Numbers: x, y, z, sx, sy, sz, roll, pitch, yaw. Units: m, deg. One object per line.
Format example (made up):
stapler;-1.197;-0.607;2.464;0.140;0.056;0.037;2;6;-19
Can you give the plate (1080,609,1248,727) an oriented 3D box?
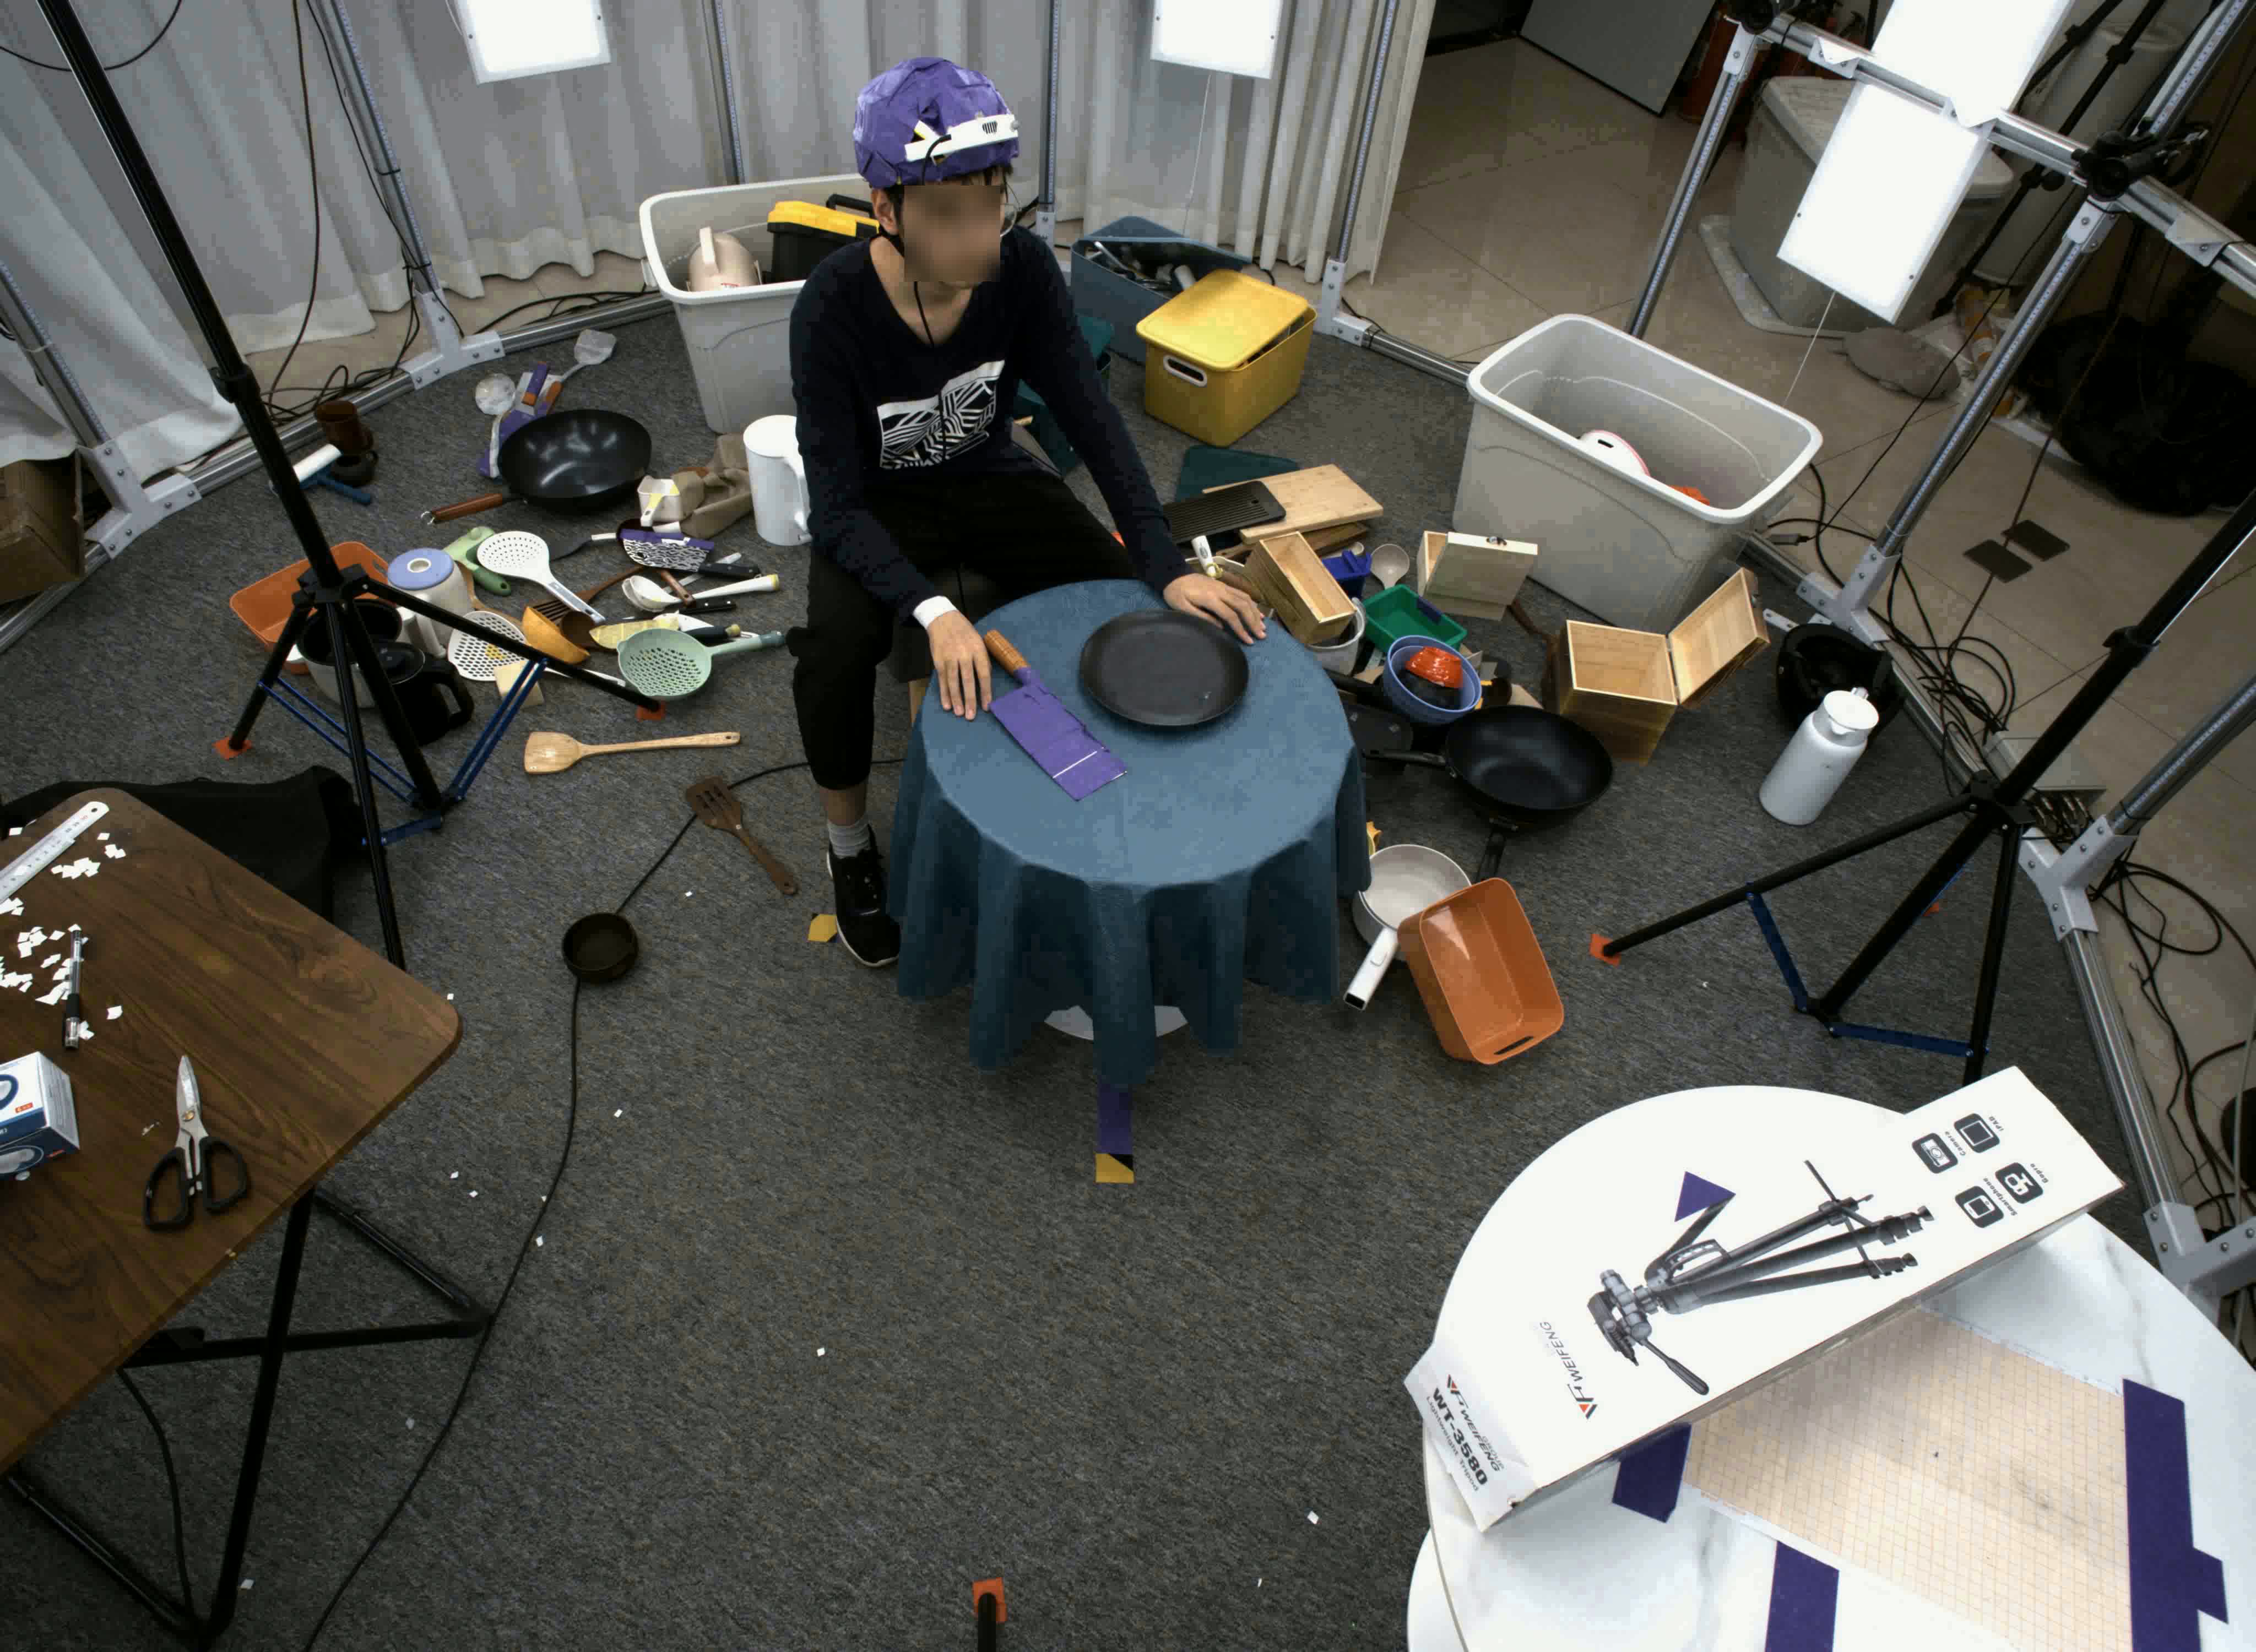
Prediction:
plate;0.051;-0.226;1.852;0.244;0.023;0.250;2;49;-2

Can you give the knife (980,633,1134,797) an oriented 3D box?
knife;-0.128;-0.158;1.778;0.104;0.031;0.321;-29;57;-26
